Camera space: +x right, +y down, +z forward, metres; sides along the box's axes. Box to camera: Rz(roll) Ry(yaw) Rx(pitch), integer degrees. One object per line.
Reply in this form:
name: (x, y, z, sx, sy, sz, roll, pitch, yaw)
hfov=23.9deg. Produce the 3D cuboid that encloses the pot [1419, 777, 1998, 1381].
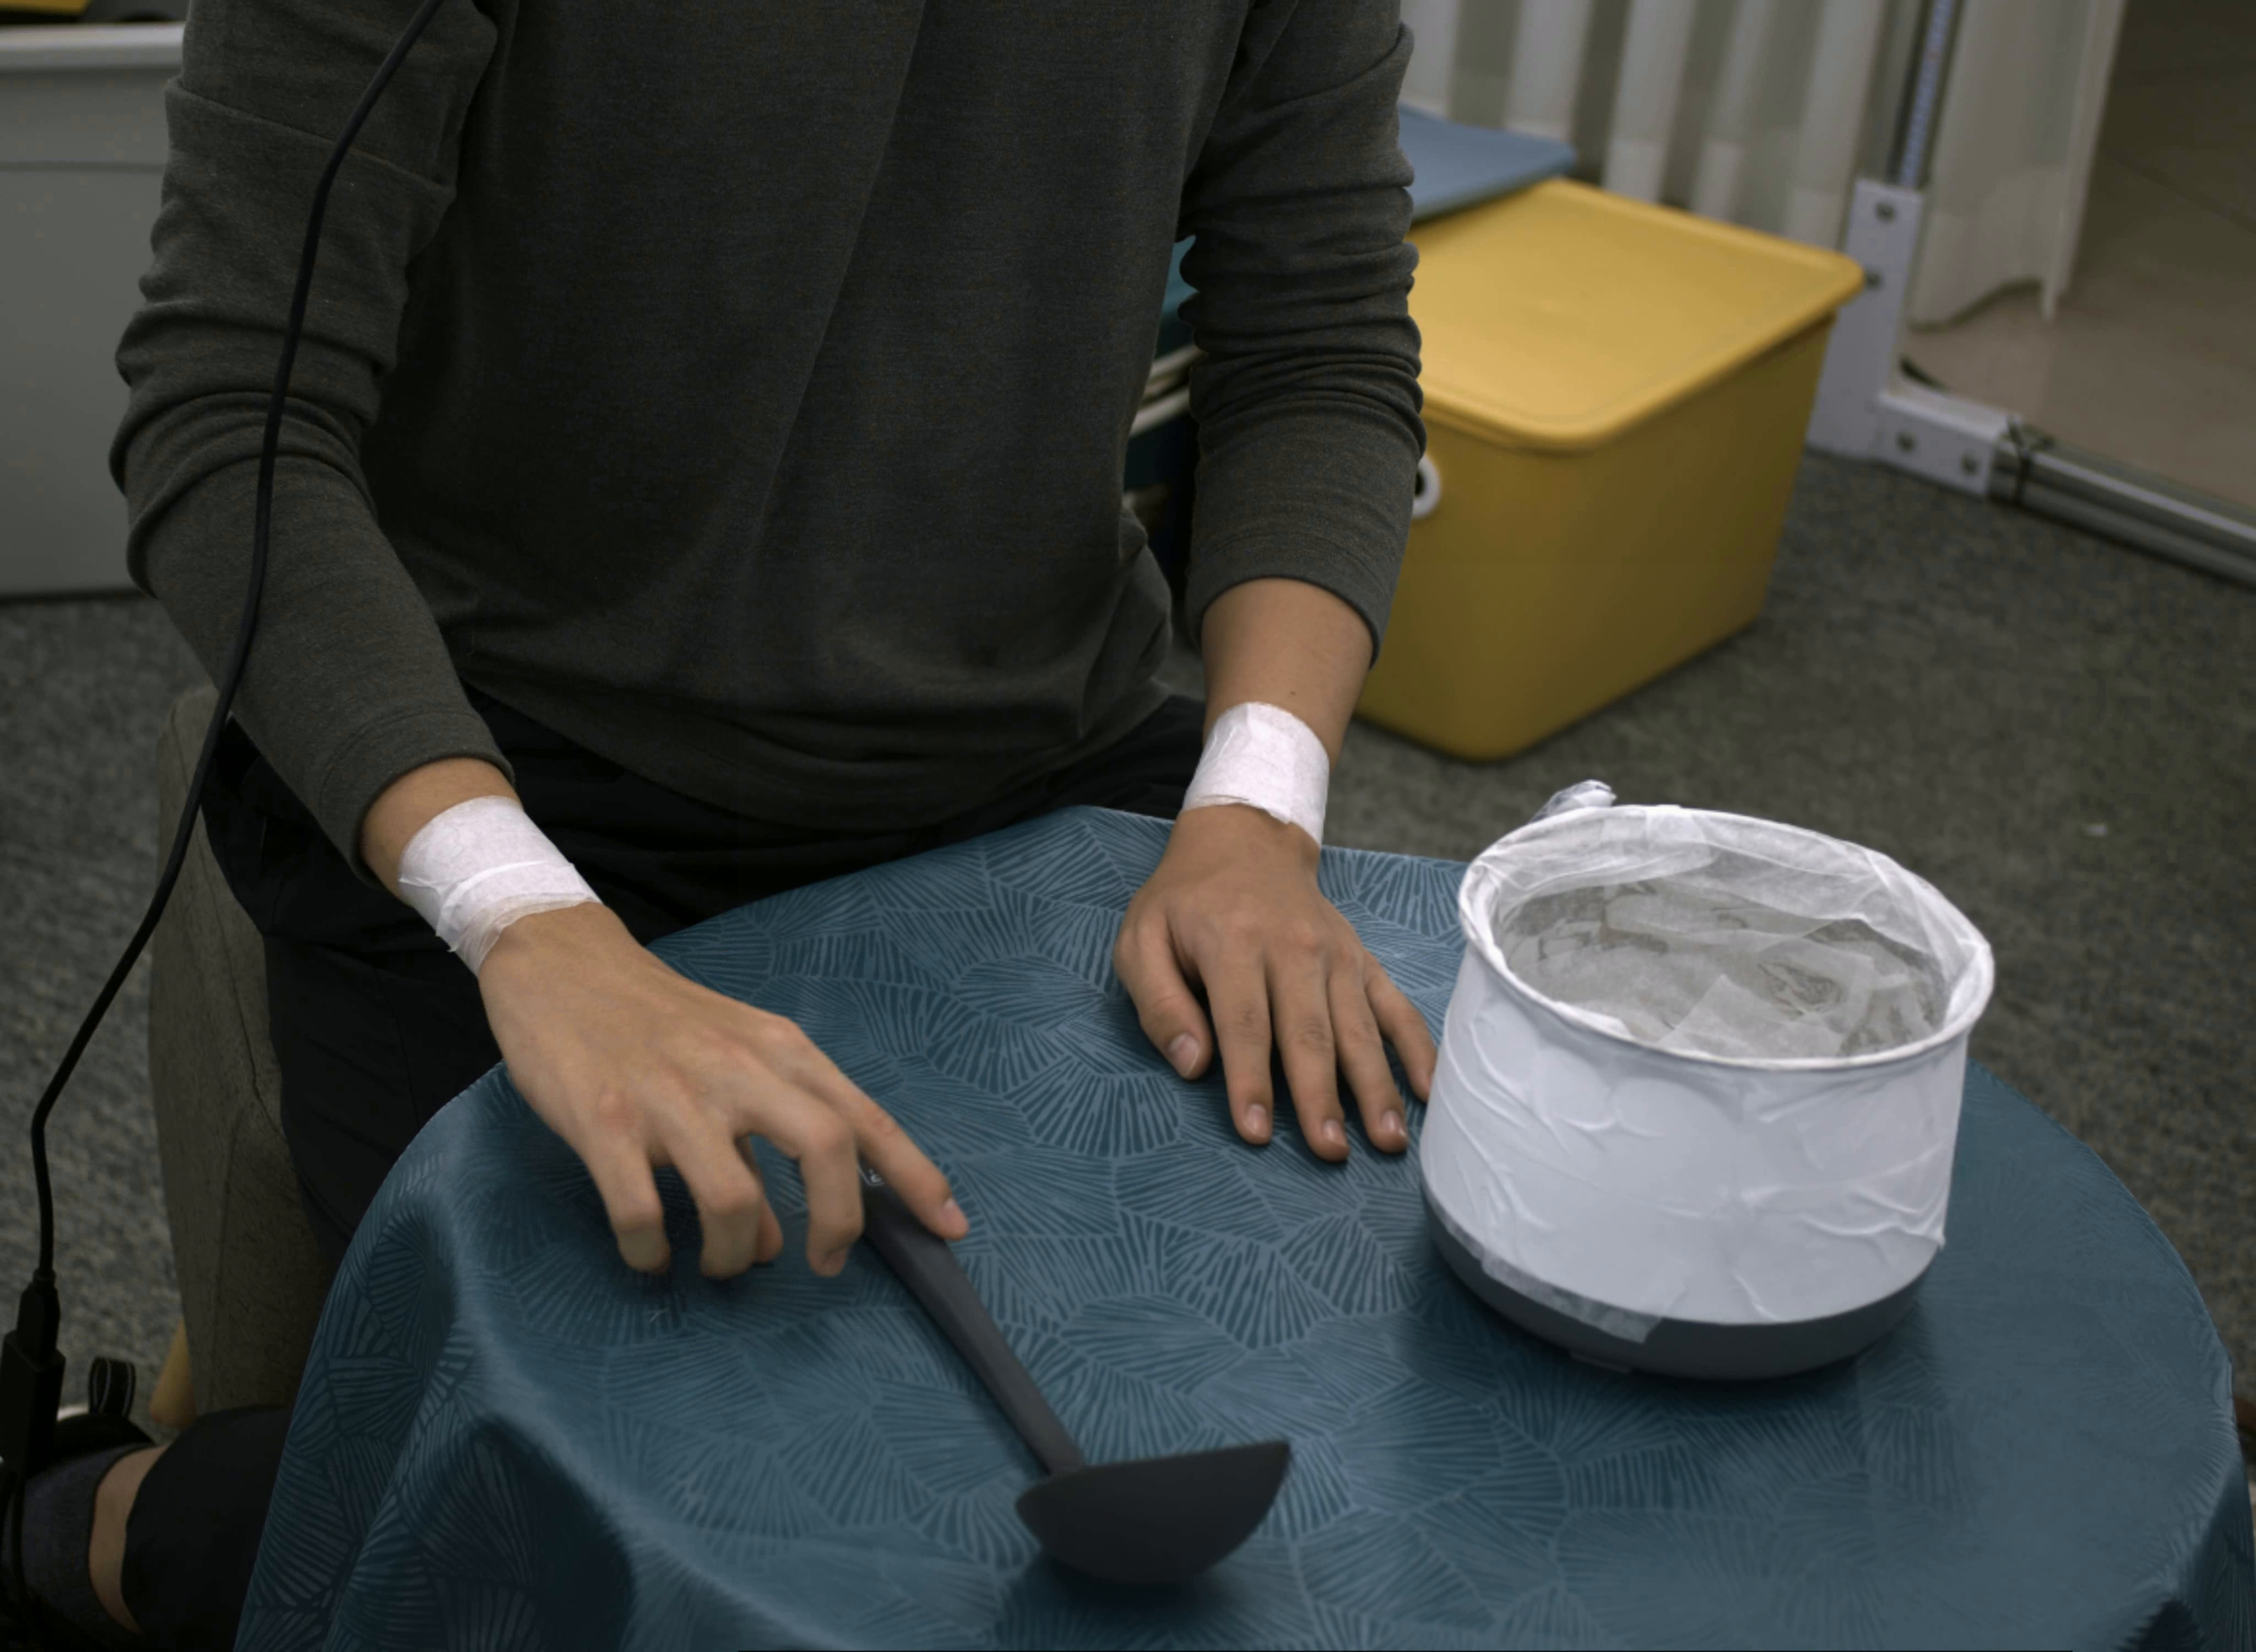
pot: (0.178, 0.077, 1.786, 0.177, 0.136, 0.236, -5, 29, -23)

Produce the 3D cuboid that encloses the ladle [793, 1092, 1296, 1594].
ladle: (-0.044, 0.145, 1.684, 0.085, 0.064, 0.317, 0, 27, -26)
